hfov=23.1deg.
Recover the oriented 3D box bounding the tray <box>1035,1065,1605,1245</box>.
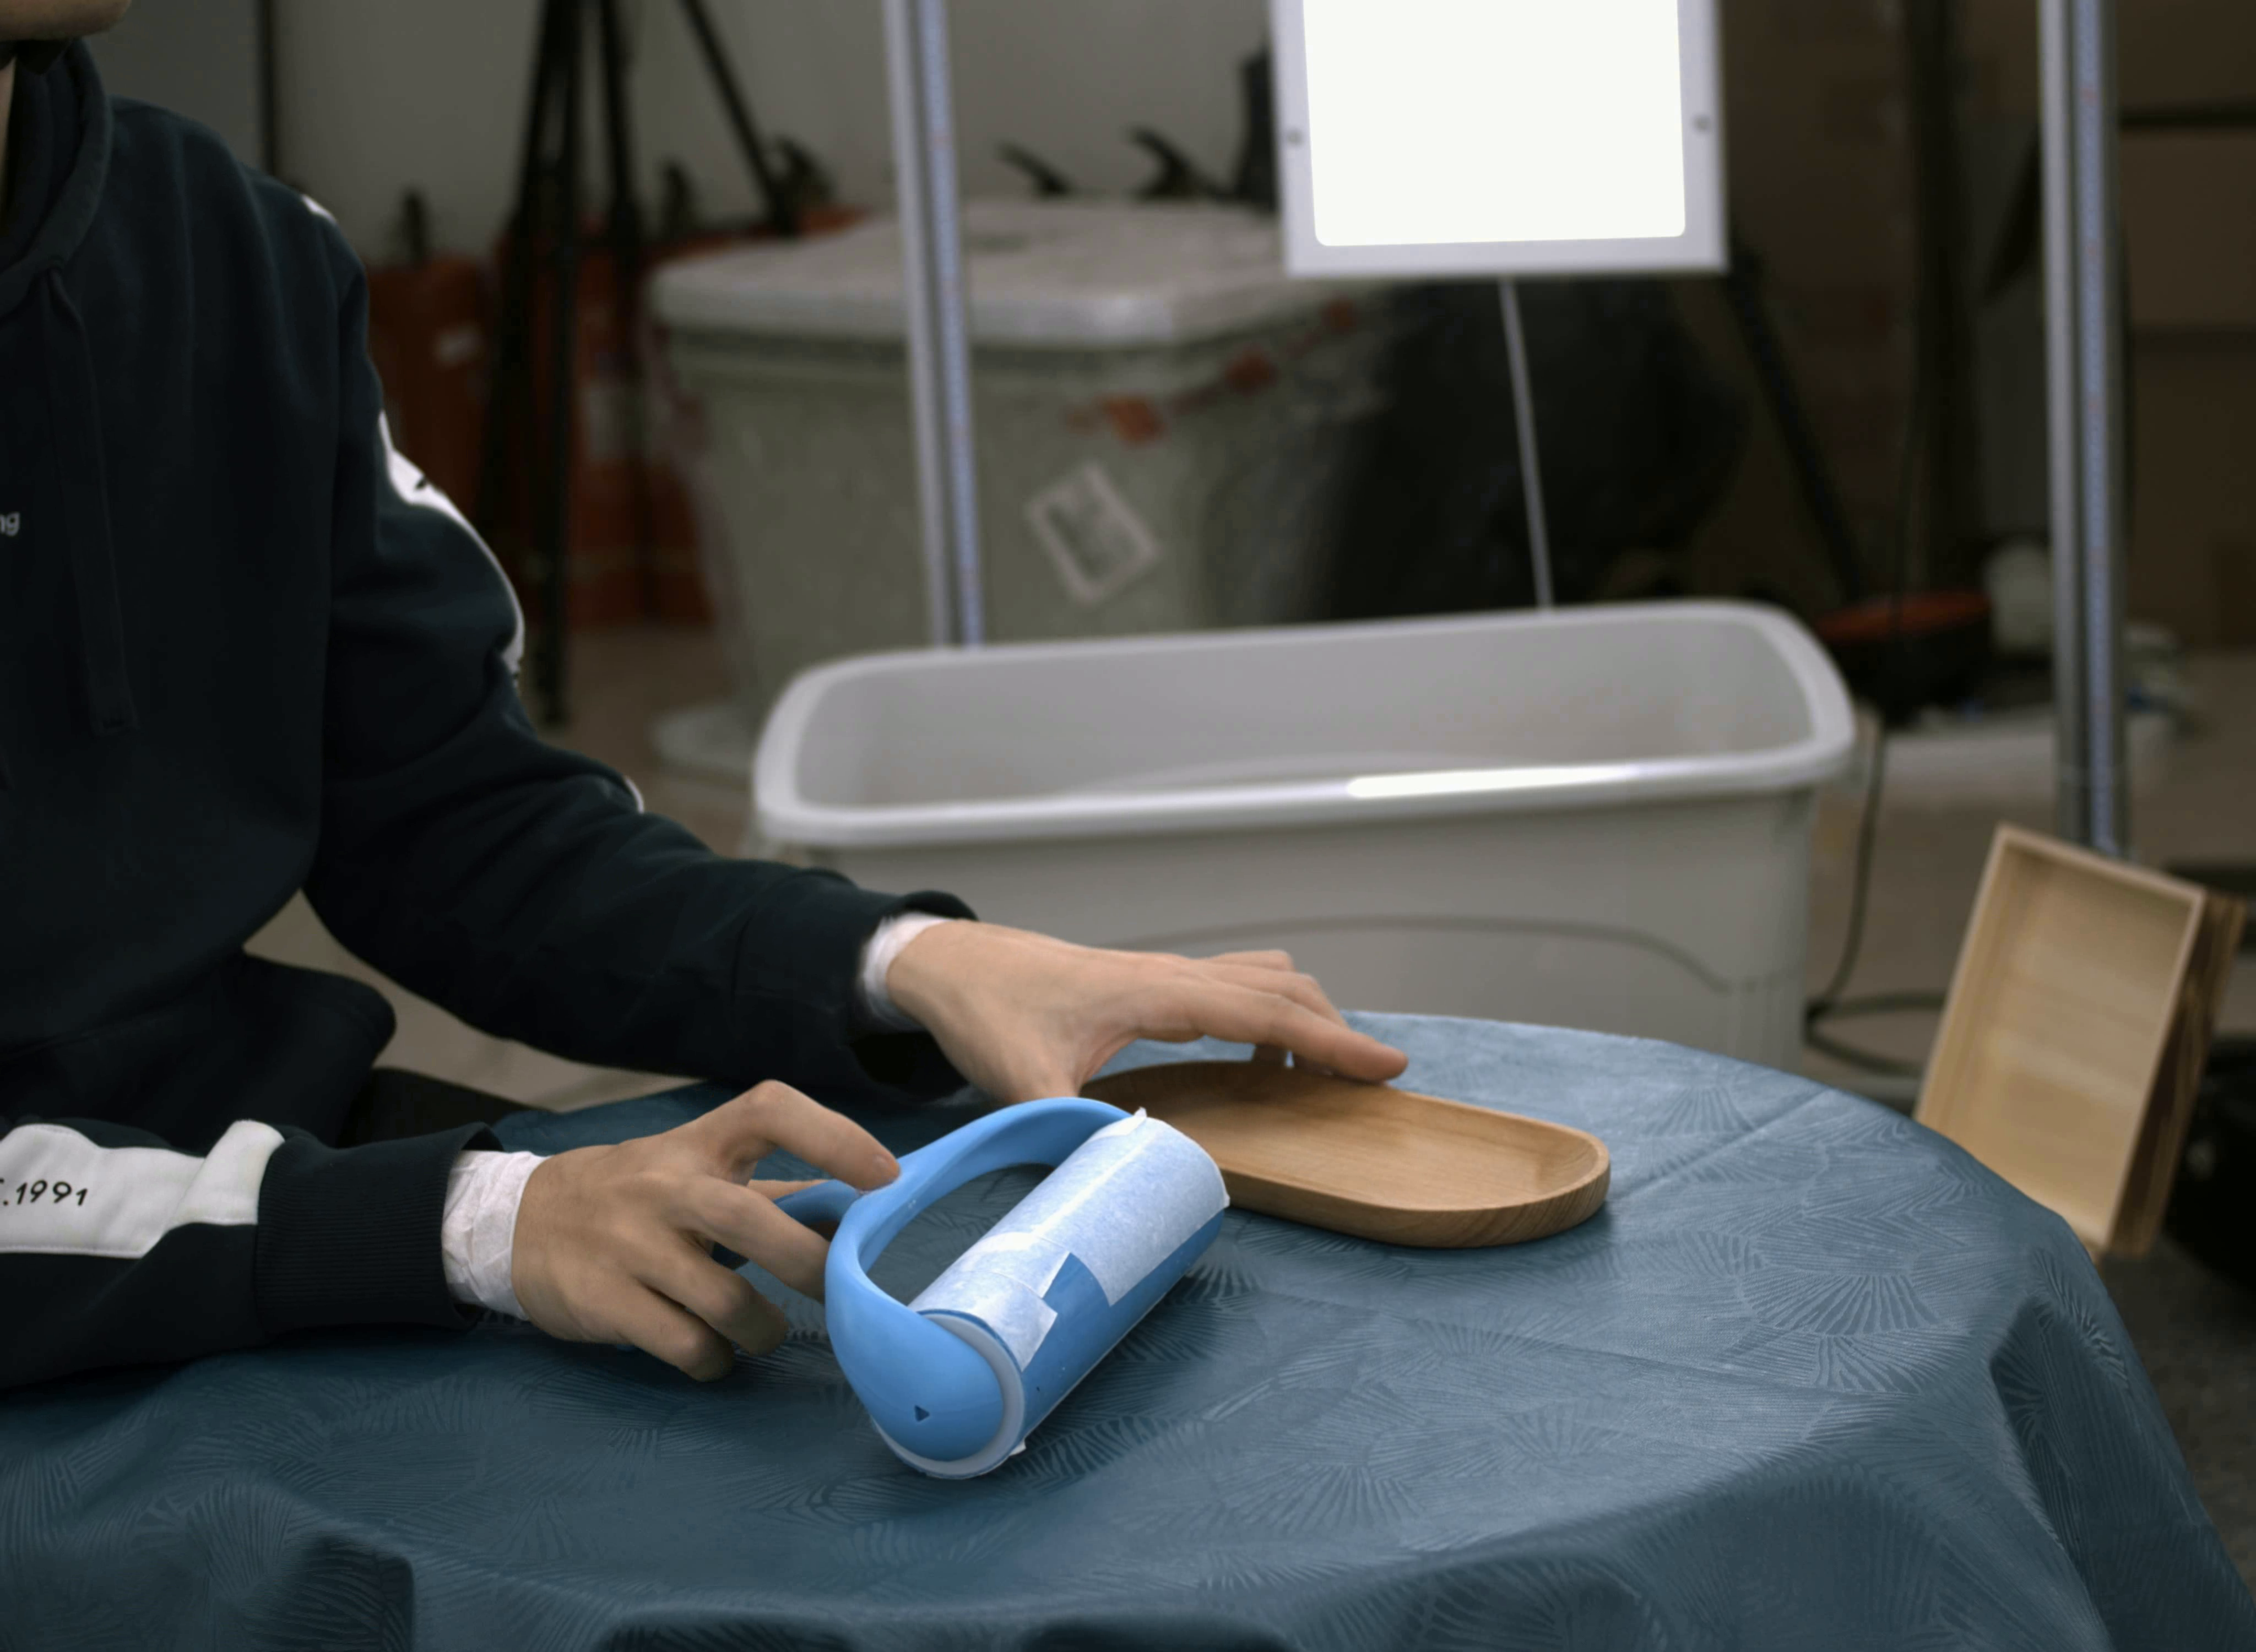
[{"bbox_3d":[0.064,0.112,1.895,0.099,0.020,0.236,-16,16,-42],"label":"tray"}]

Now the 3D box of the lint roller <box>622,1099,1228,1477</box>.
[{"bbox_3d":[-0.079,0.143,1.737,0.182,0.068,0.225,0,16,18],"label":"lint roller"}]
